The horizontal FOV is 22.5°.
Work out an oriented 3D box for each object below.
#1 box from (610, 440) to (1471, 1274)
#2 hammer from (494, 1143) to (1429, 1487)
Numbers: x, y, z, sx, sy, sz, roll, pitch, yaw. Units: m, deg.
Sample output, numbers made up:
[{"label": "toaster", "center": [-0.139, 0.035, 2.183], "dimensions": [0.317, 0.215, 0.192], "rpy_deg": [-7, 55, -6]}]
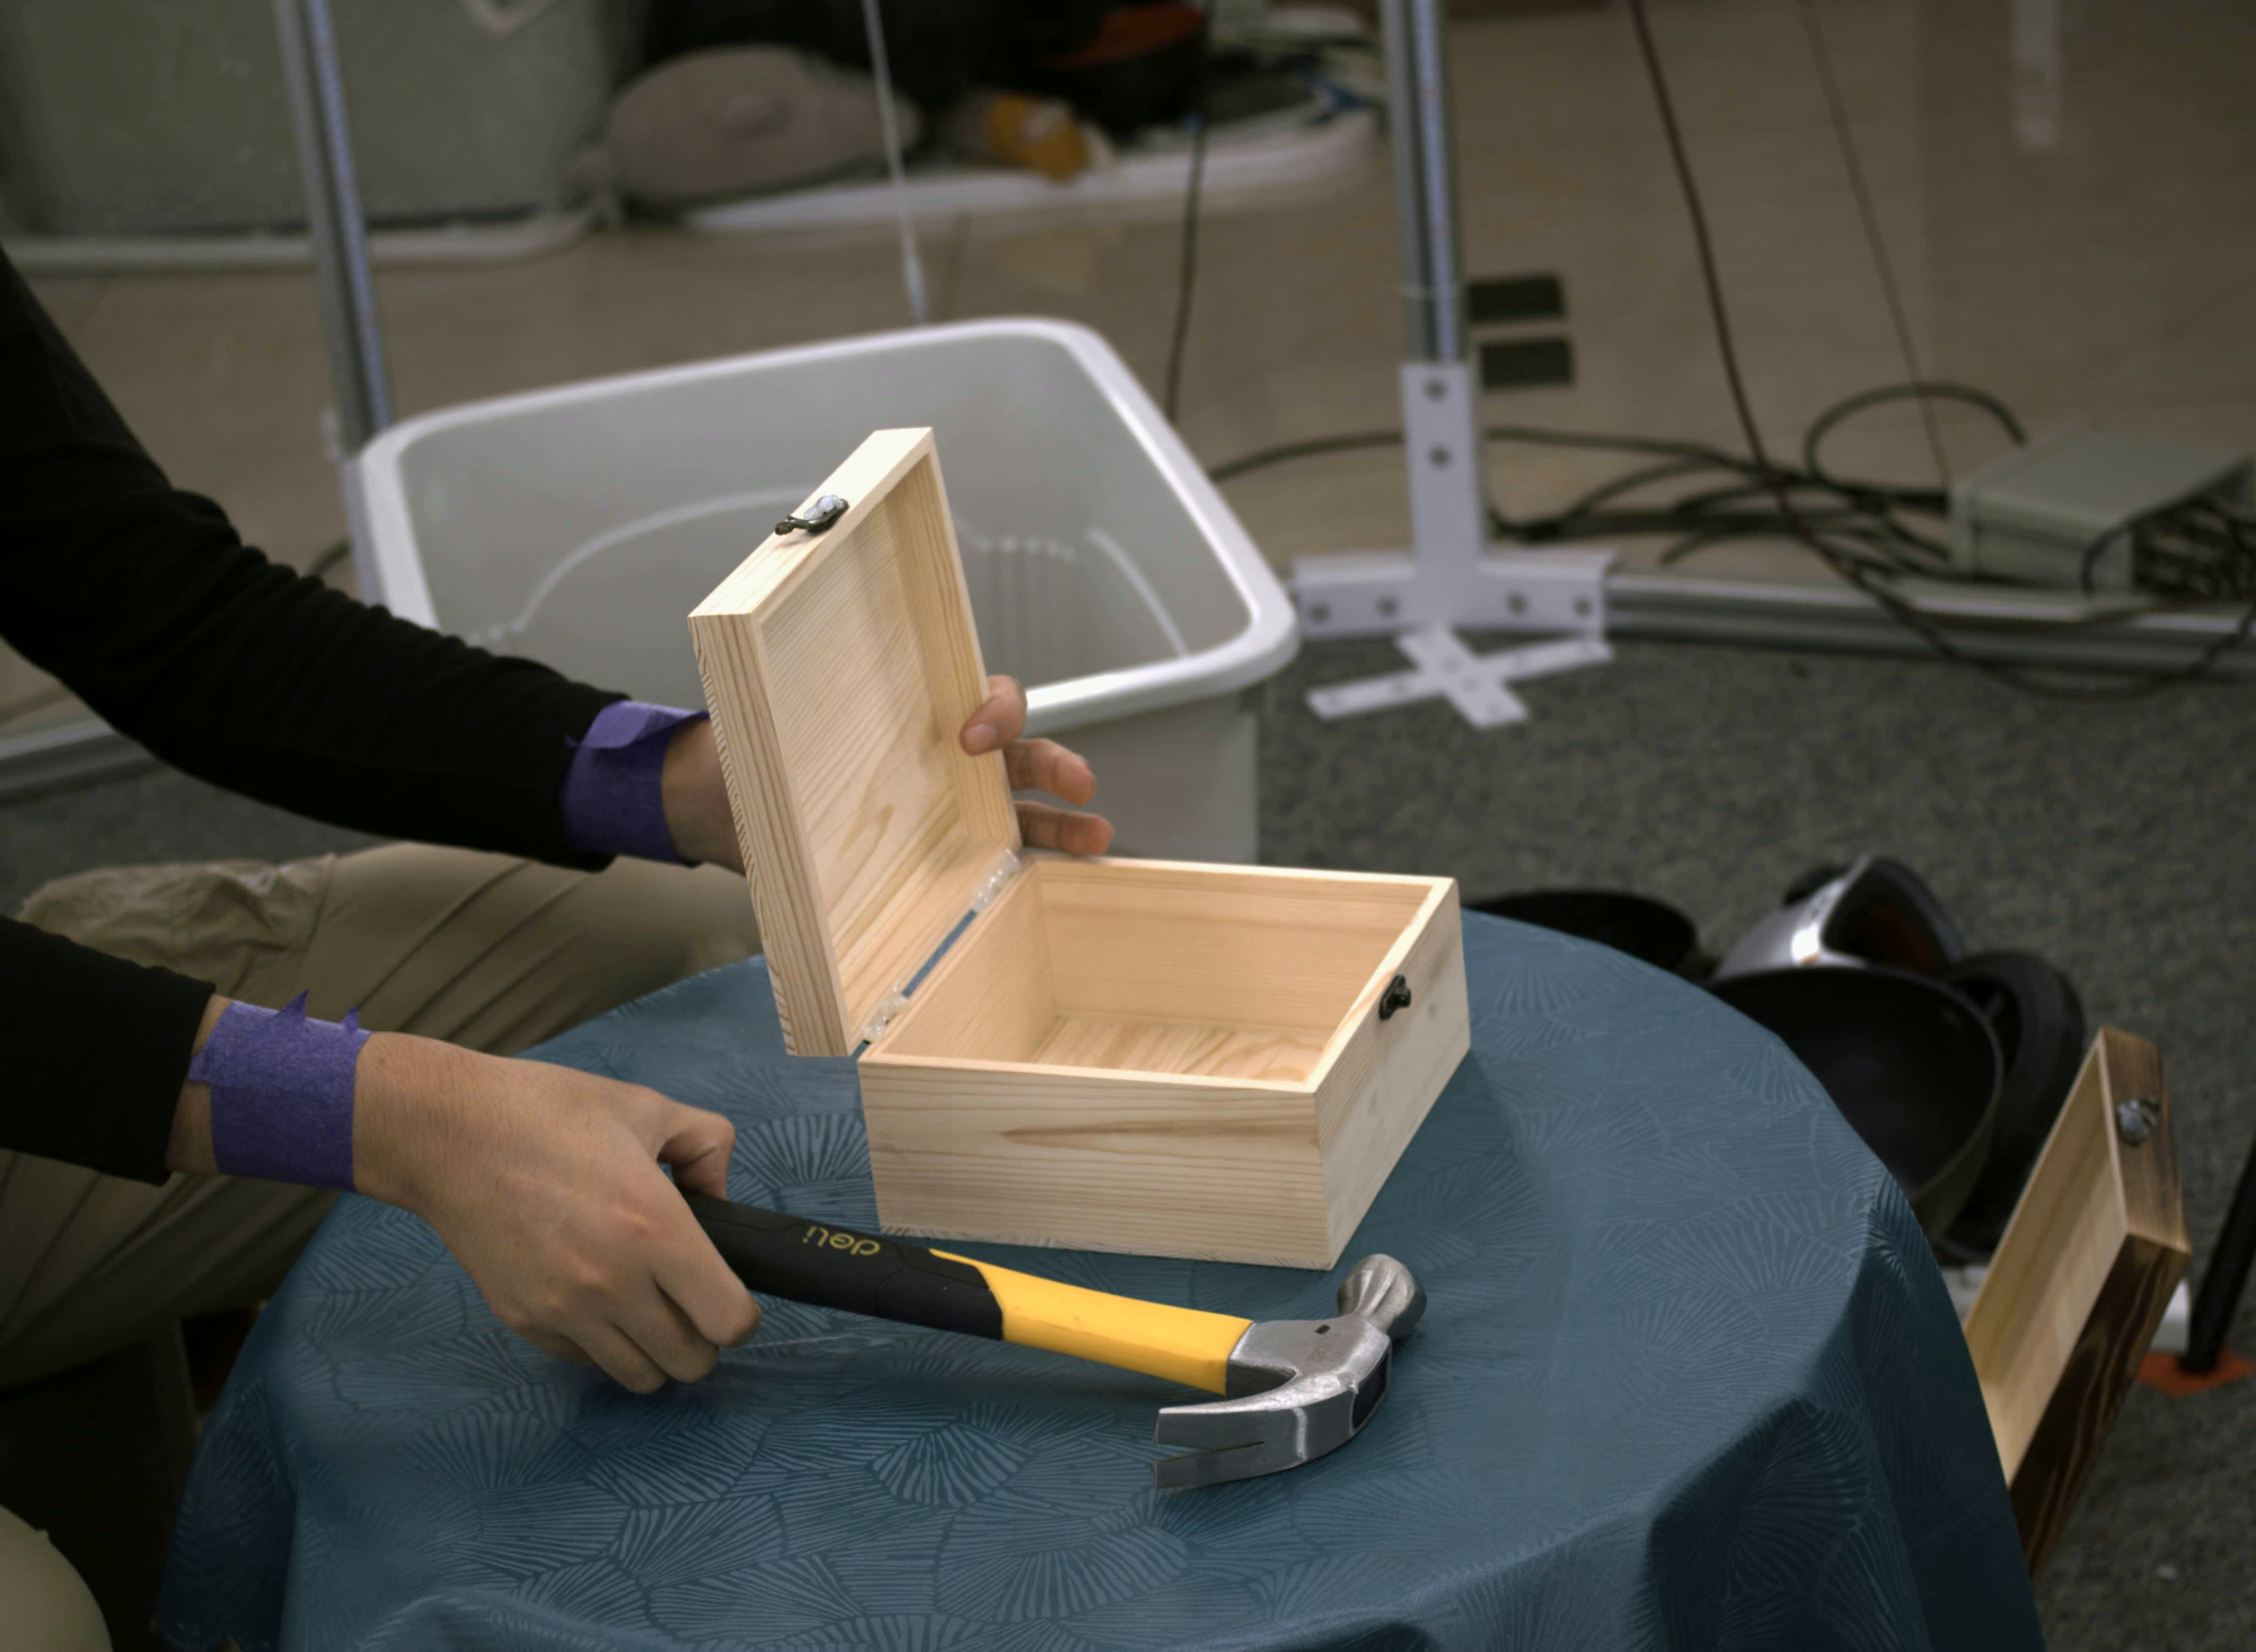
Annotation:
[{"label": "box", "center": [-0.023, 0.007, 2.139], "dimensions": [0.264, 0.257, 0.179], "rpy_deg": [3, 29, 20]}, {"label": "hammer", "center": [-0.071, 0.163, 2.027], "dimensions": [0.337, 0.033, 0.129], "rpy_deg": [12, 30, 18]}]
